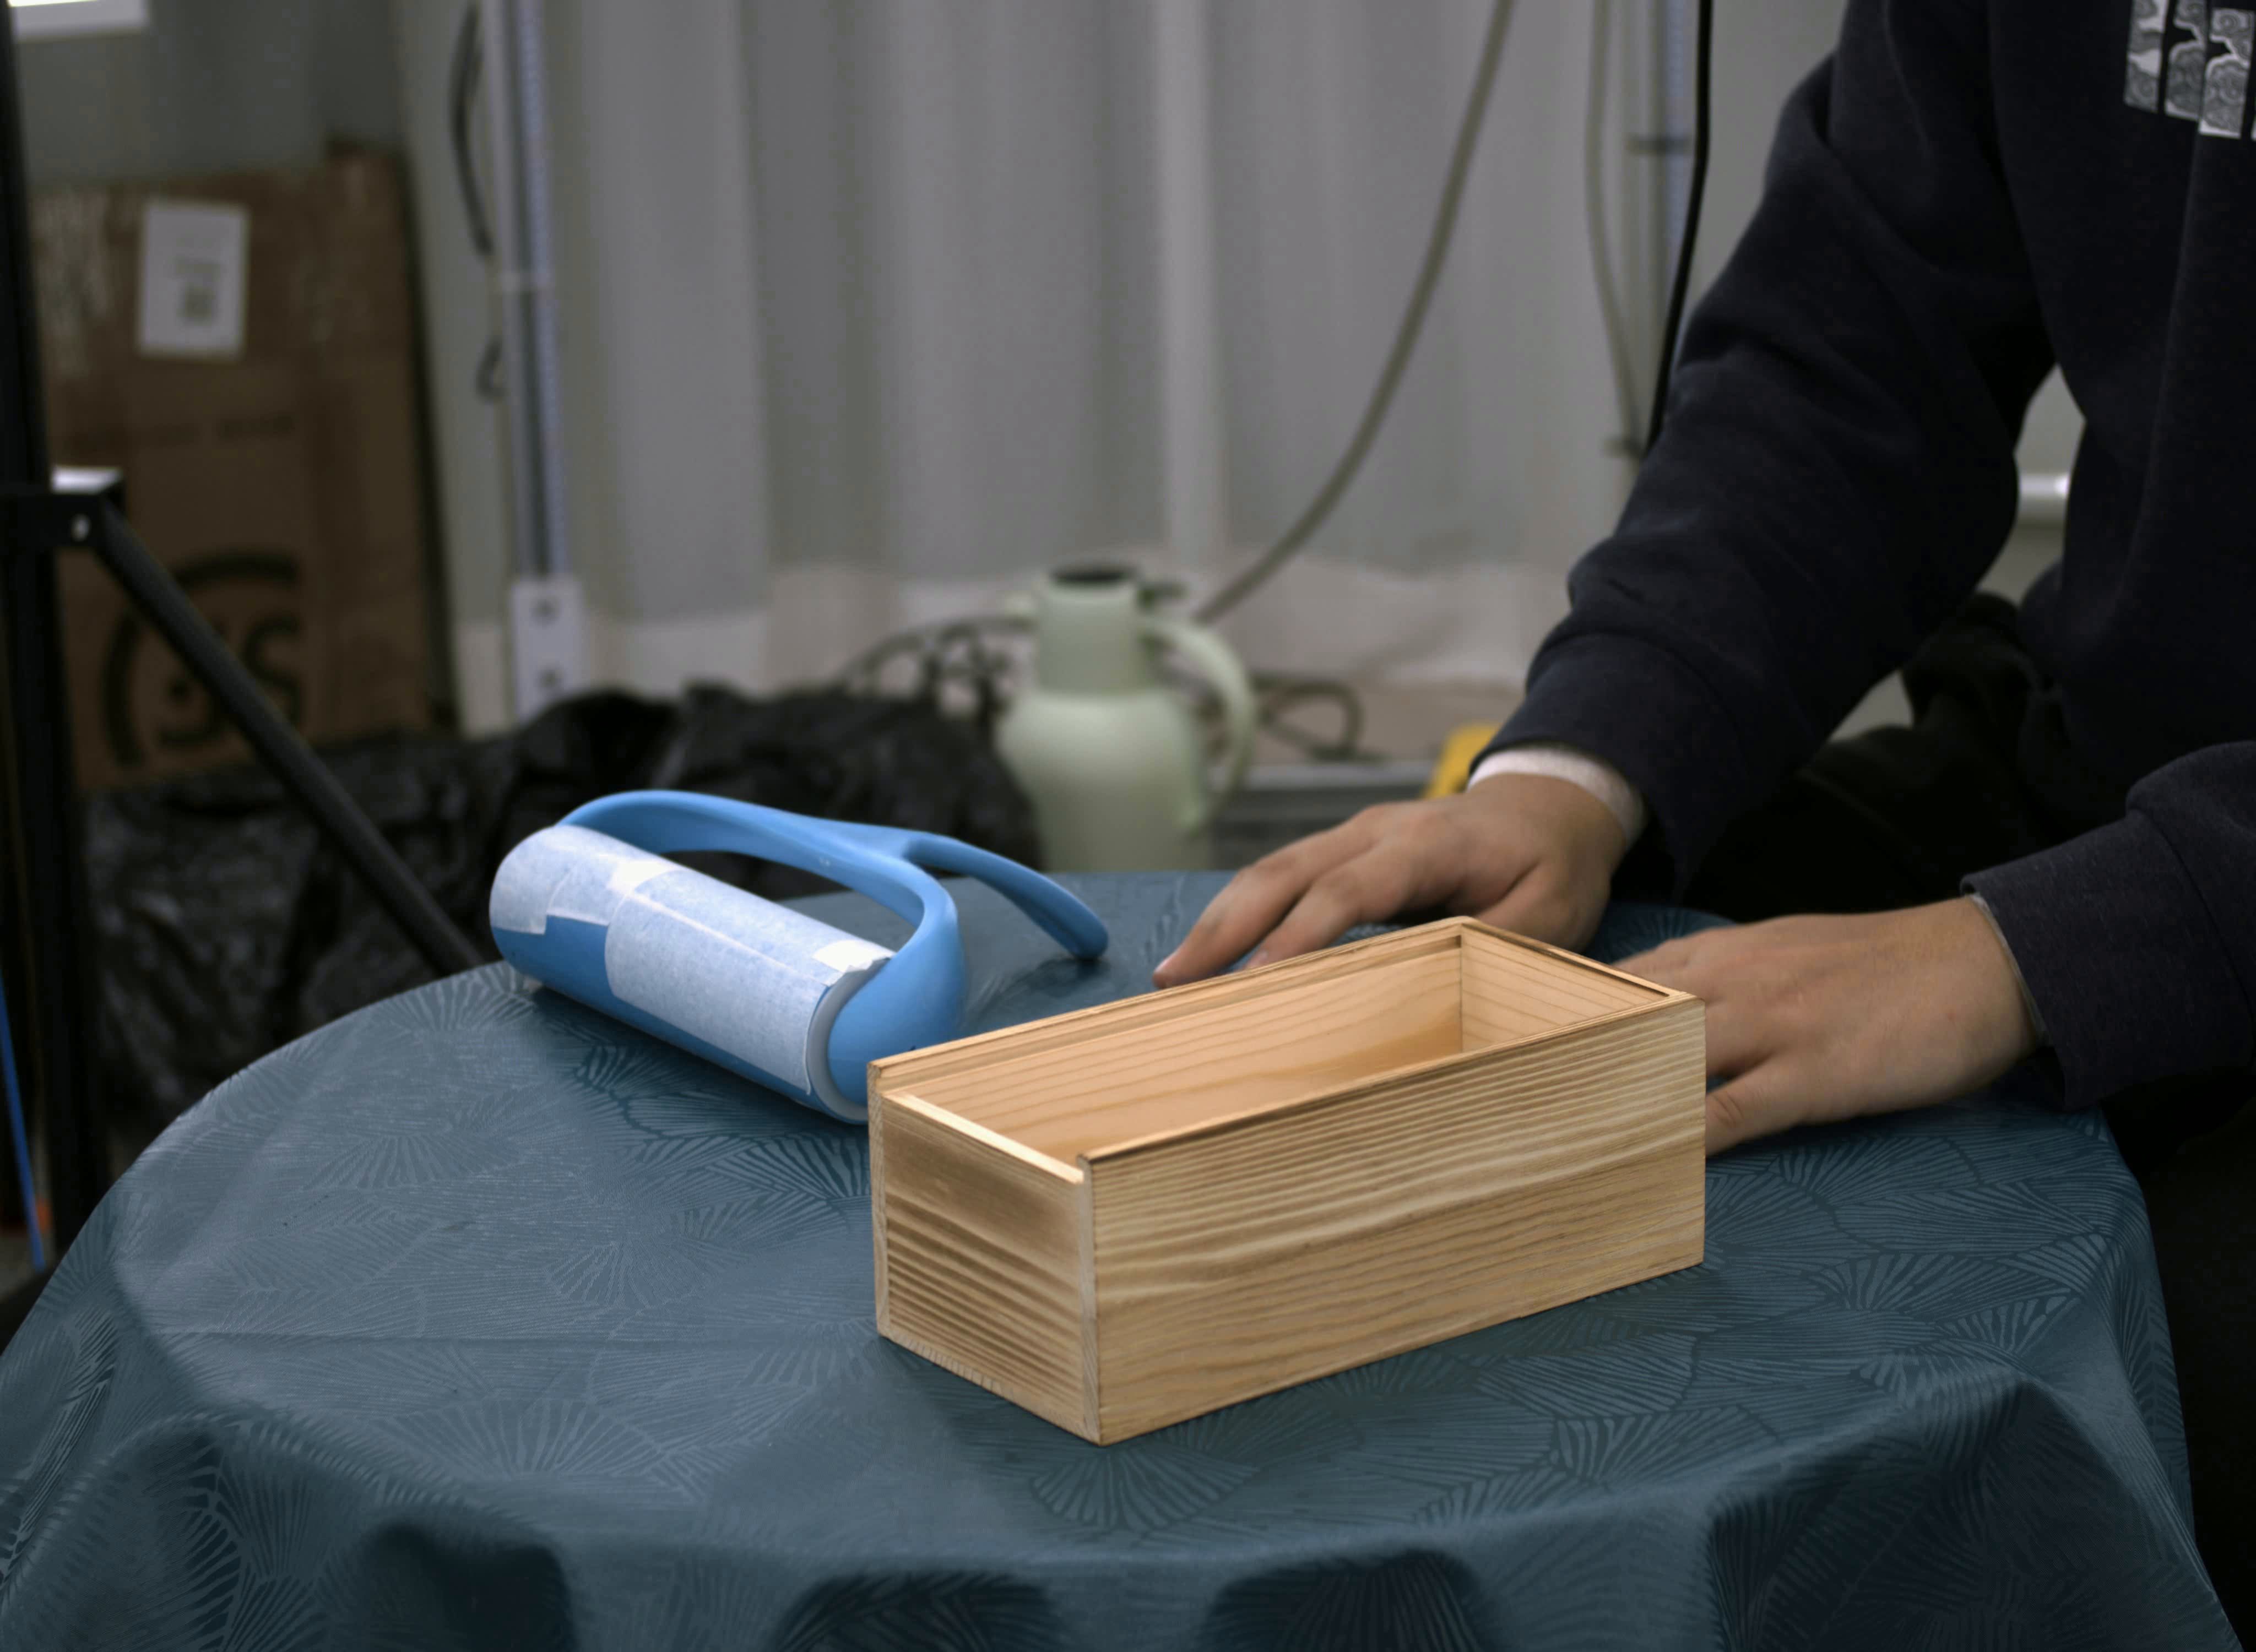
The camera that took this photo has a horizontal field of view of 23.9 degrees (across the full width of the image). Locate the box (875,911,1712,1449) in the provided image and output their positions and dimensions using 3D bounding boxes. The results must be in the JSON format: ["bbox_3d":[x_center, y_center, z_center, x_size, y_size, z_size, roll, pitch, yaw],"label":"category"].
[{"bbox_3d":[0.047,0.093,1.457,0.206,0.080,0.110,-13,19,-33],"label":"box"}]

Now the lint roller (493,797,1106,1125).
[{"bbox_3d":[-0.085,0.032,1.727,0.176,0.068,0.234,-15,19,-34],"label":"lint roller"}]
